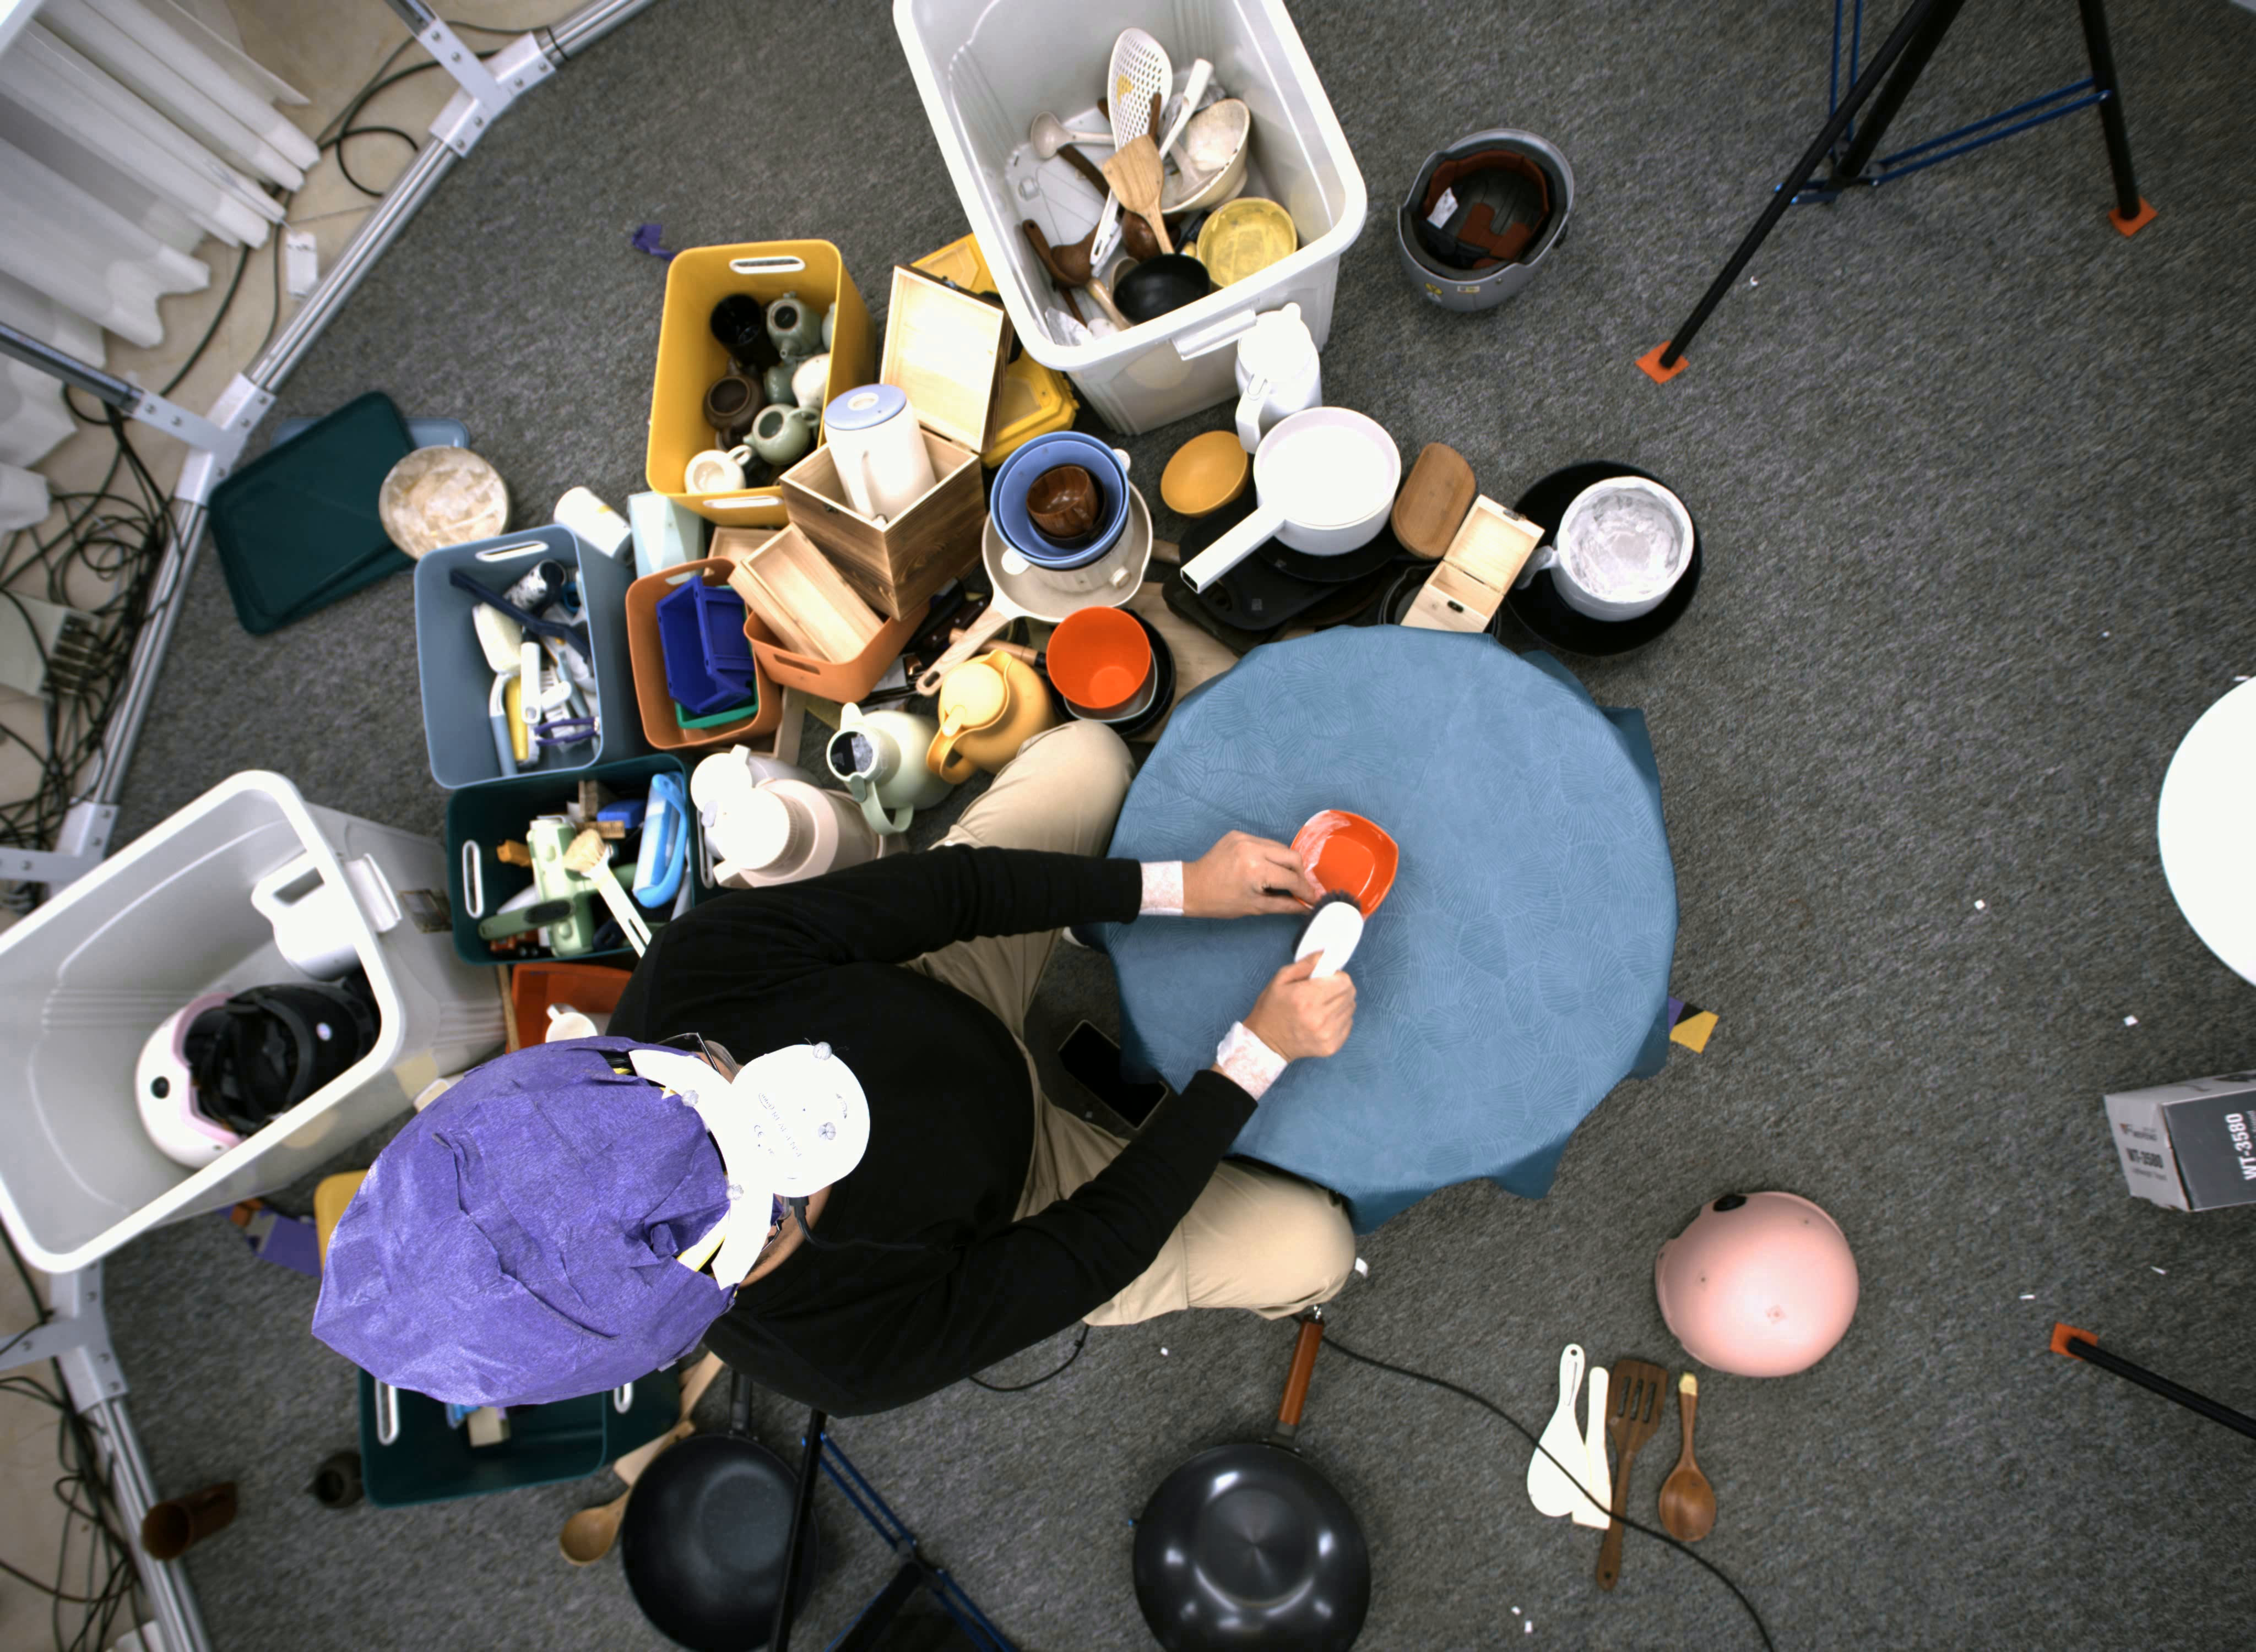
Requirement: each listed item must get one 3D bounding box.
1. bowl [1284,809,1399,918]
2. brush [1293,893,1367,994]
[{"bbox_3d":[0.223,0.042,1.445,0.119,0.051,0.118,-1,85,10],"label":"bowl"},{"bbox_3d":[0.203,0.123,1.383,0.050,0.071,0.101,25,120,-9],"label":"brush"}]
